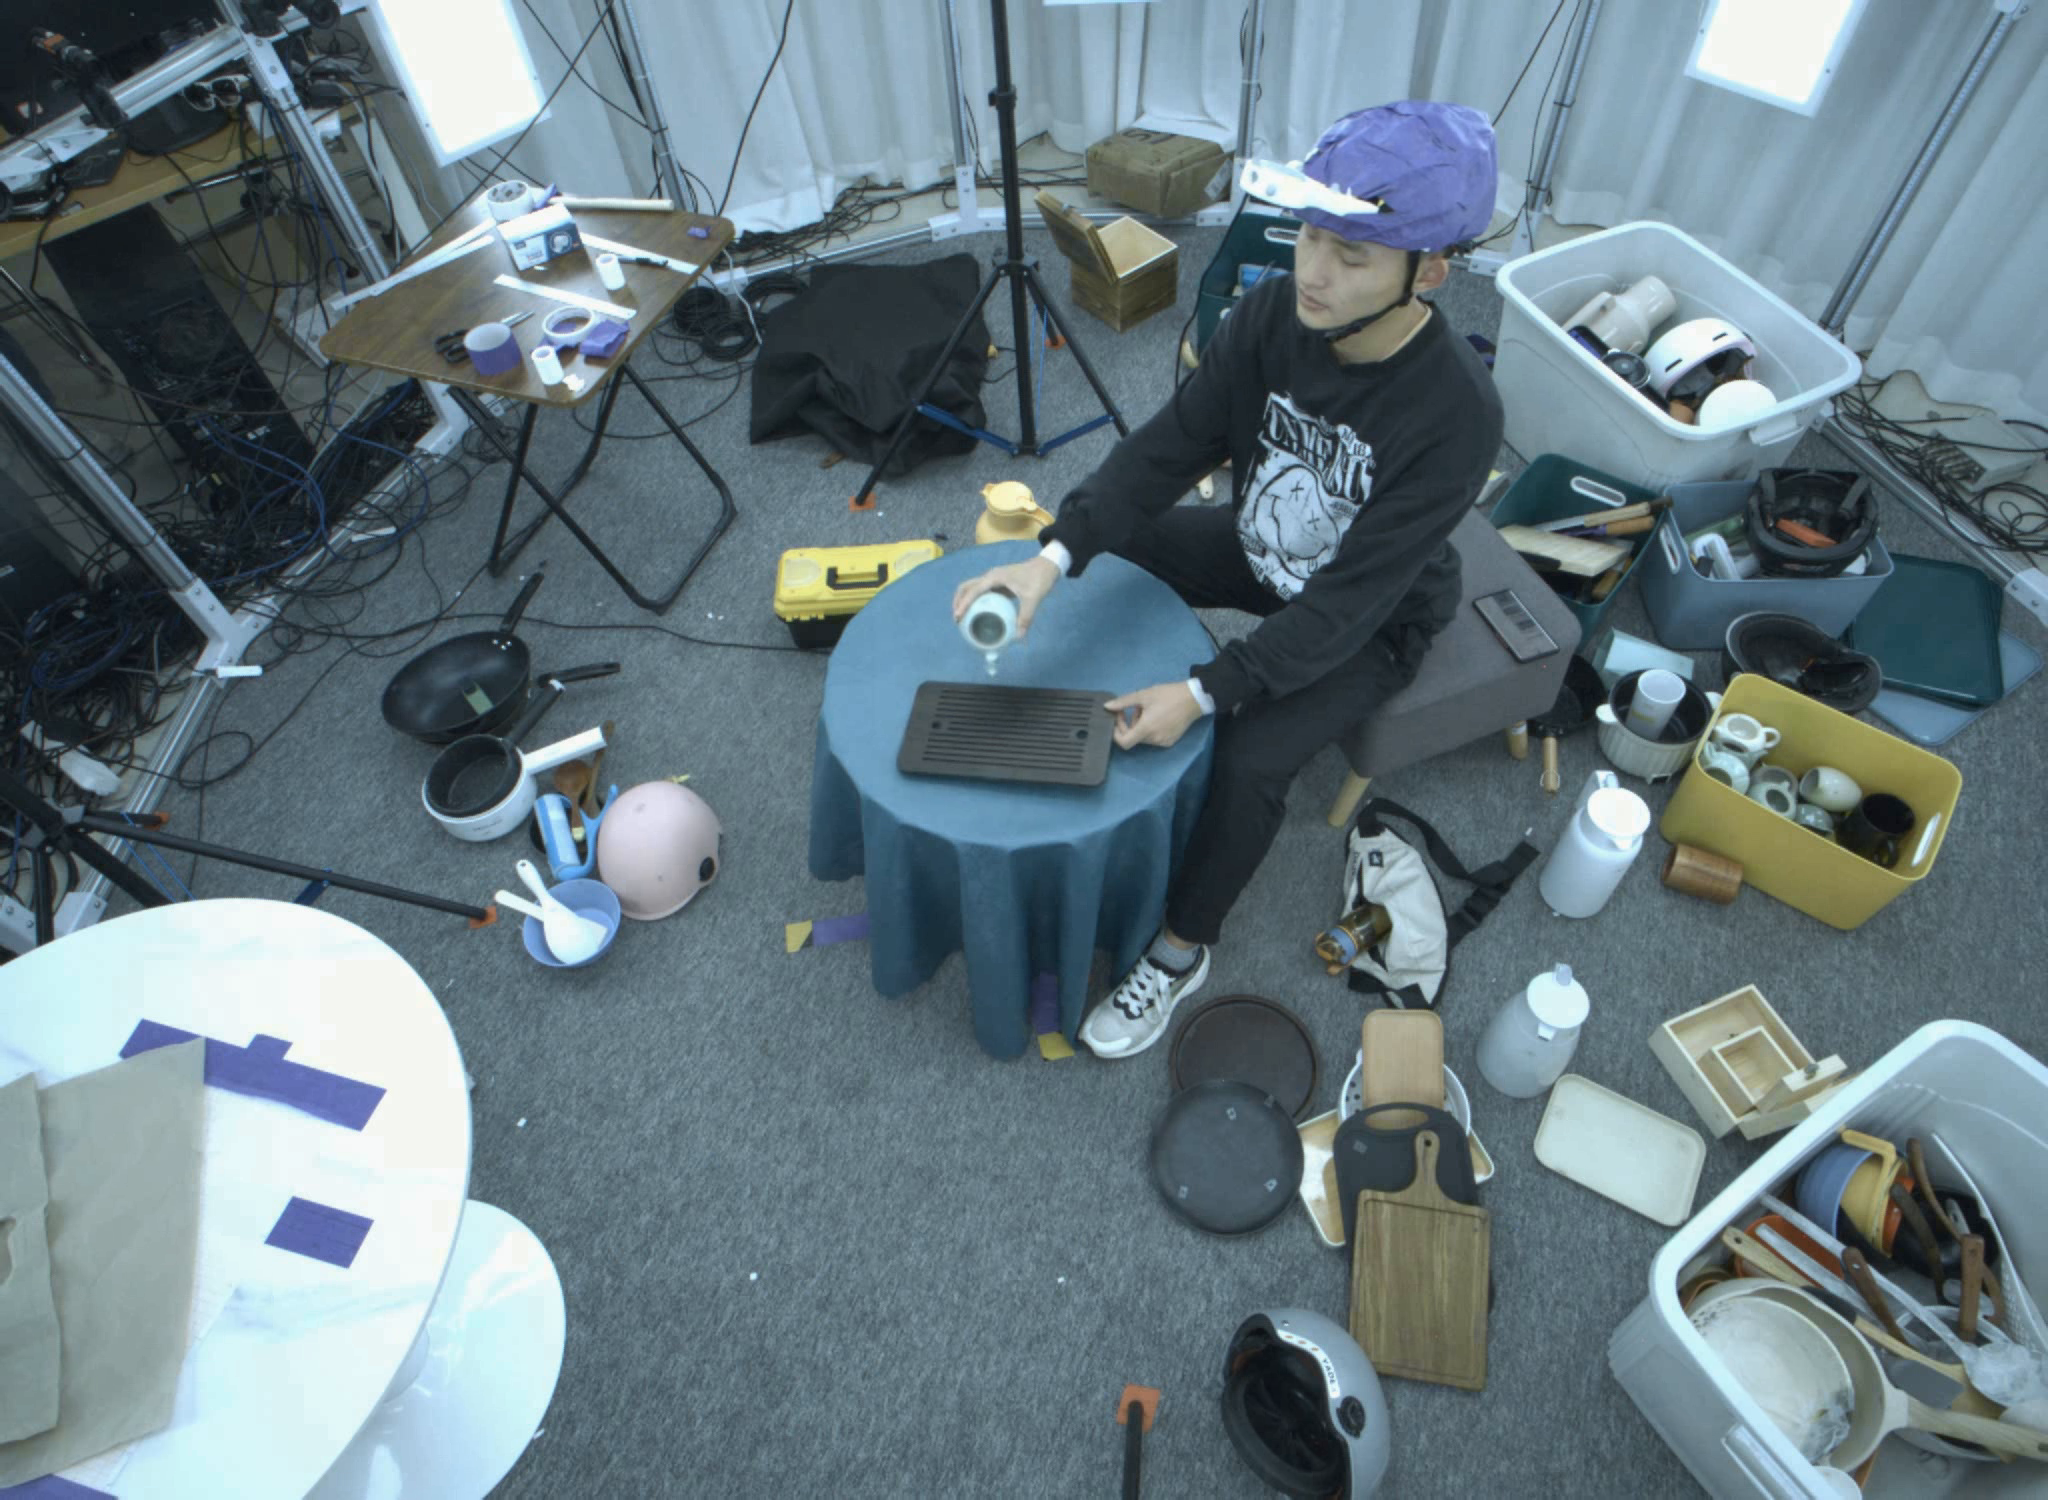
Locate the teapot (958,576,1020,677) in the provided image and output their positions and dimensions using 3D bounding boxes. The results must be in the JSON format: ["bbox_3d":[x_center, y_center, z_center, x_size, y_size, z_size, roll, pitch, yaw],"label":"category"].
[{"bbox_3d":[-0.051,-0.182,1.743,0.088,0.145,0.074,-2,29,3],"label":"teapot"}]

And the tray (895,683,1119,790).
[{"bbox_3d":[-0.023,-0.020,1.777,0.304,0.019,0.169,5,54,9],"label":"tray"}]
